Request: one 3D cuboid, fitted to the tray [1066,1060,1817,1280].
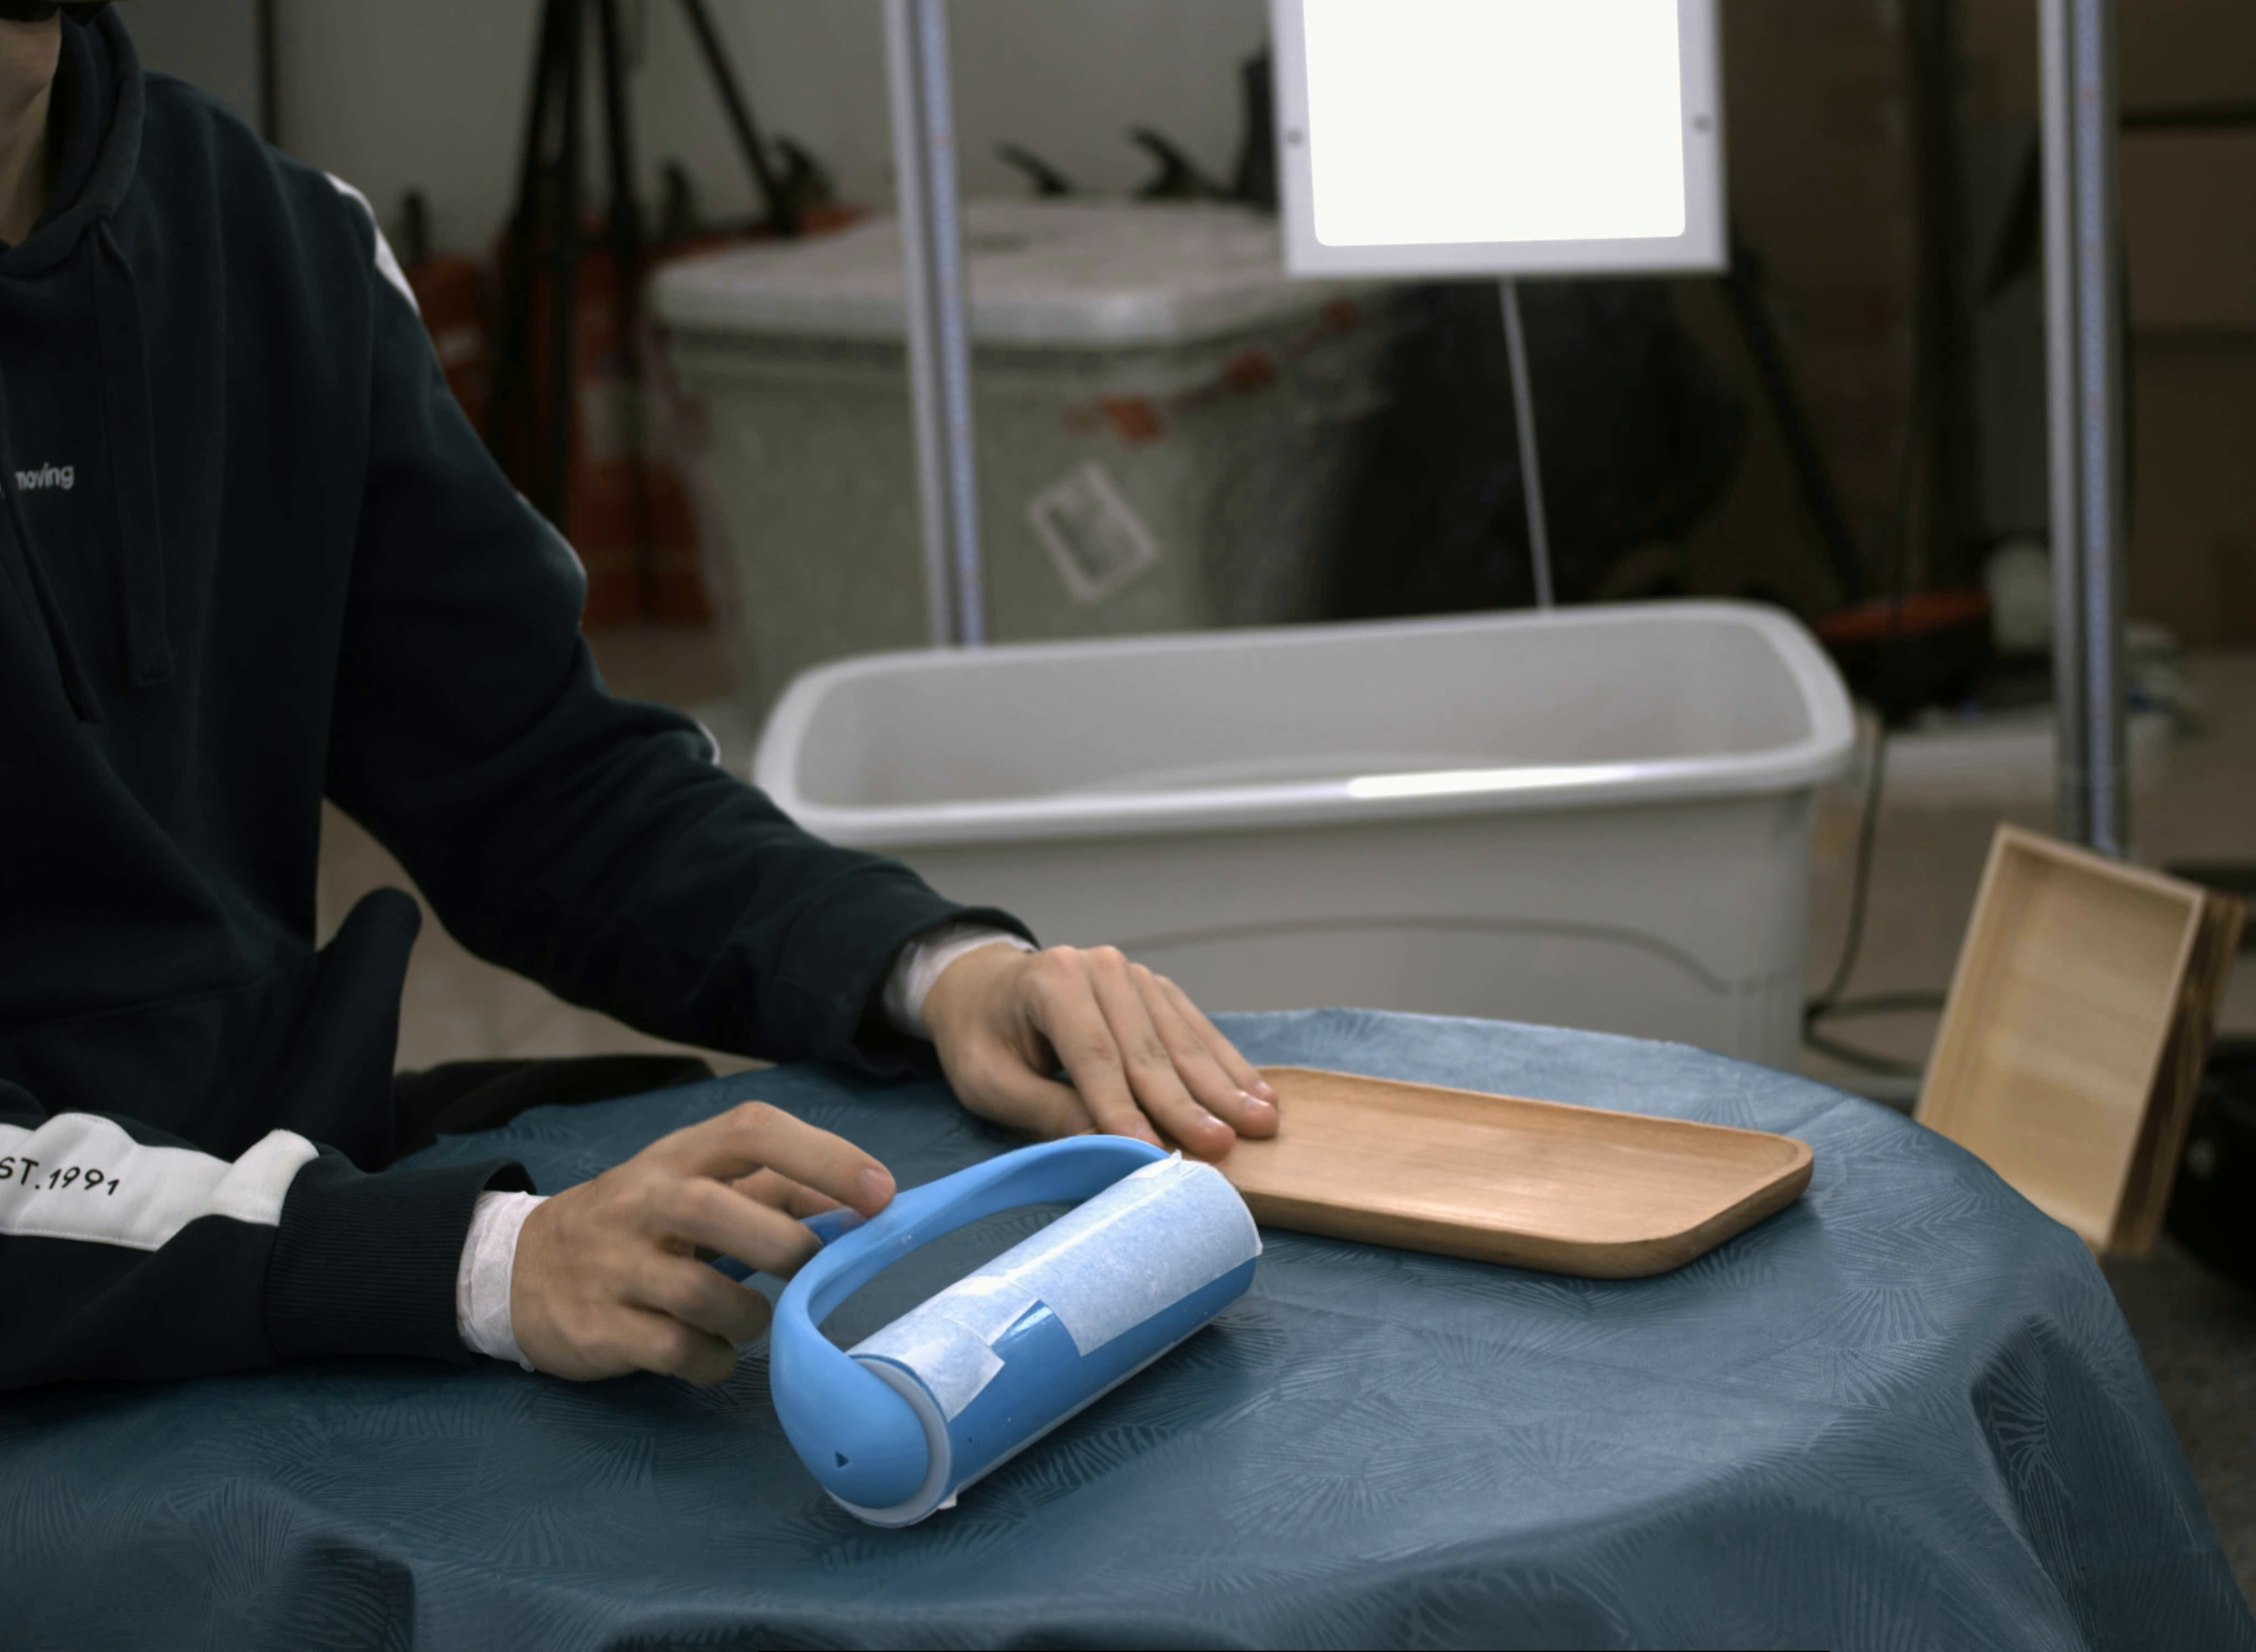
[{"bbox_3d":[0.105,0.115,1.866,0.256,0.023,0.127,6,15,39],"label":"tray"}]

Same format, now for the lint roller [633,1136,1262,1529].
[{"bbox_3d":[-0.079,0.151,1.705,0.183,0.068,0.224,3,18,28],"label":"lint roller"}]
